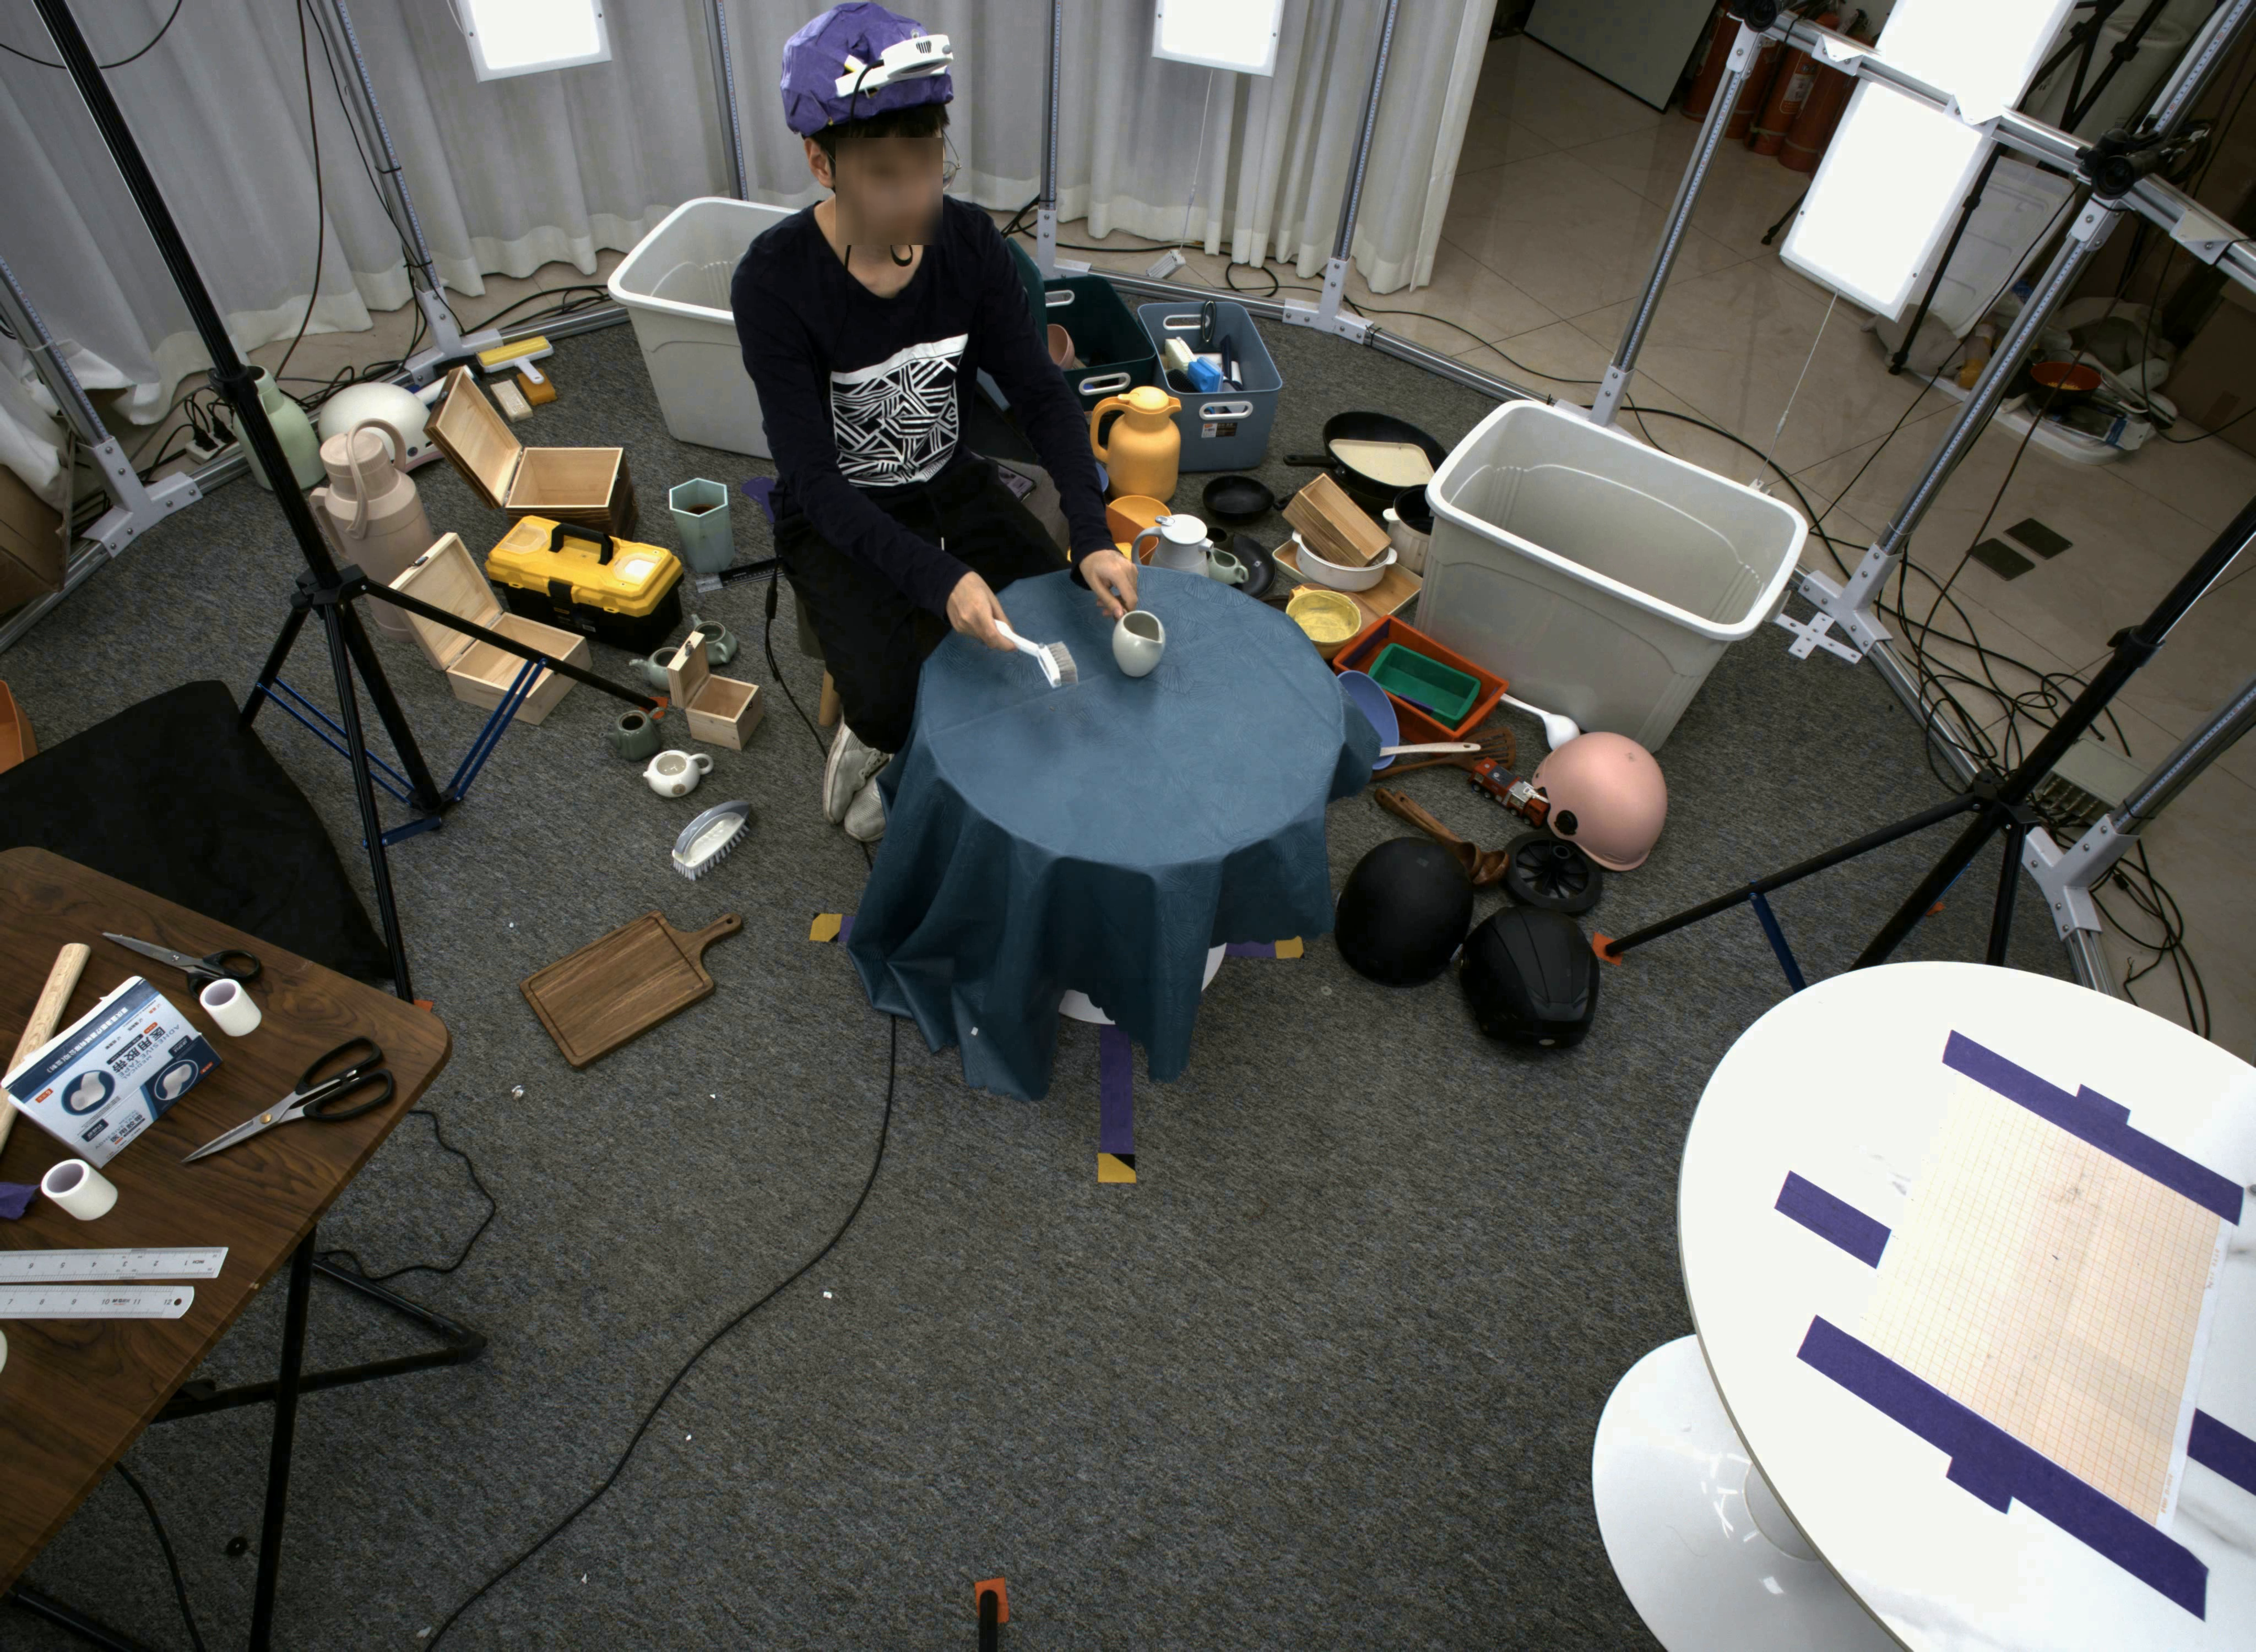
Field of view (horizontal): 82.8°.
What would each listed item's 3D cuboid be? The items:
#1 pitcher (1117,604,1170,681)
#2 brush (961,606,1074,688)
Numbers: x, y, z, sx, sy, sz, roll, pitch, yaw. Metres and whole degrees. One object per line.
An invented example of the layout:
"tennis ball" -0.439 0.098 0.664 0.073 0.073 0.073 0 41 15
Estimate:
"pitcher" 0.017 -0.259 1.837 0.076 0.086 0.121 -20 56 -25
"brush" -0.152 -0.260 1.794 0.050 0.033 0.248 -31 46 -21
